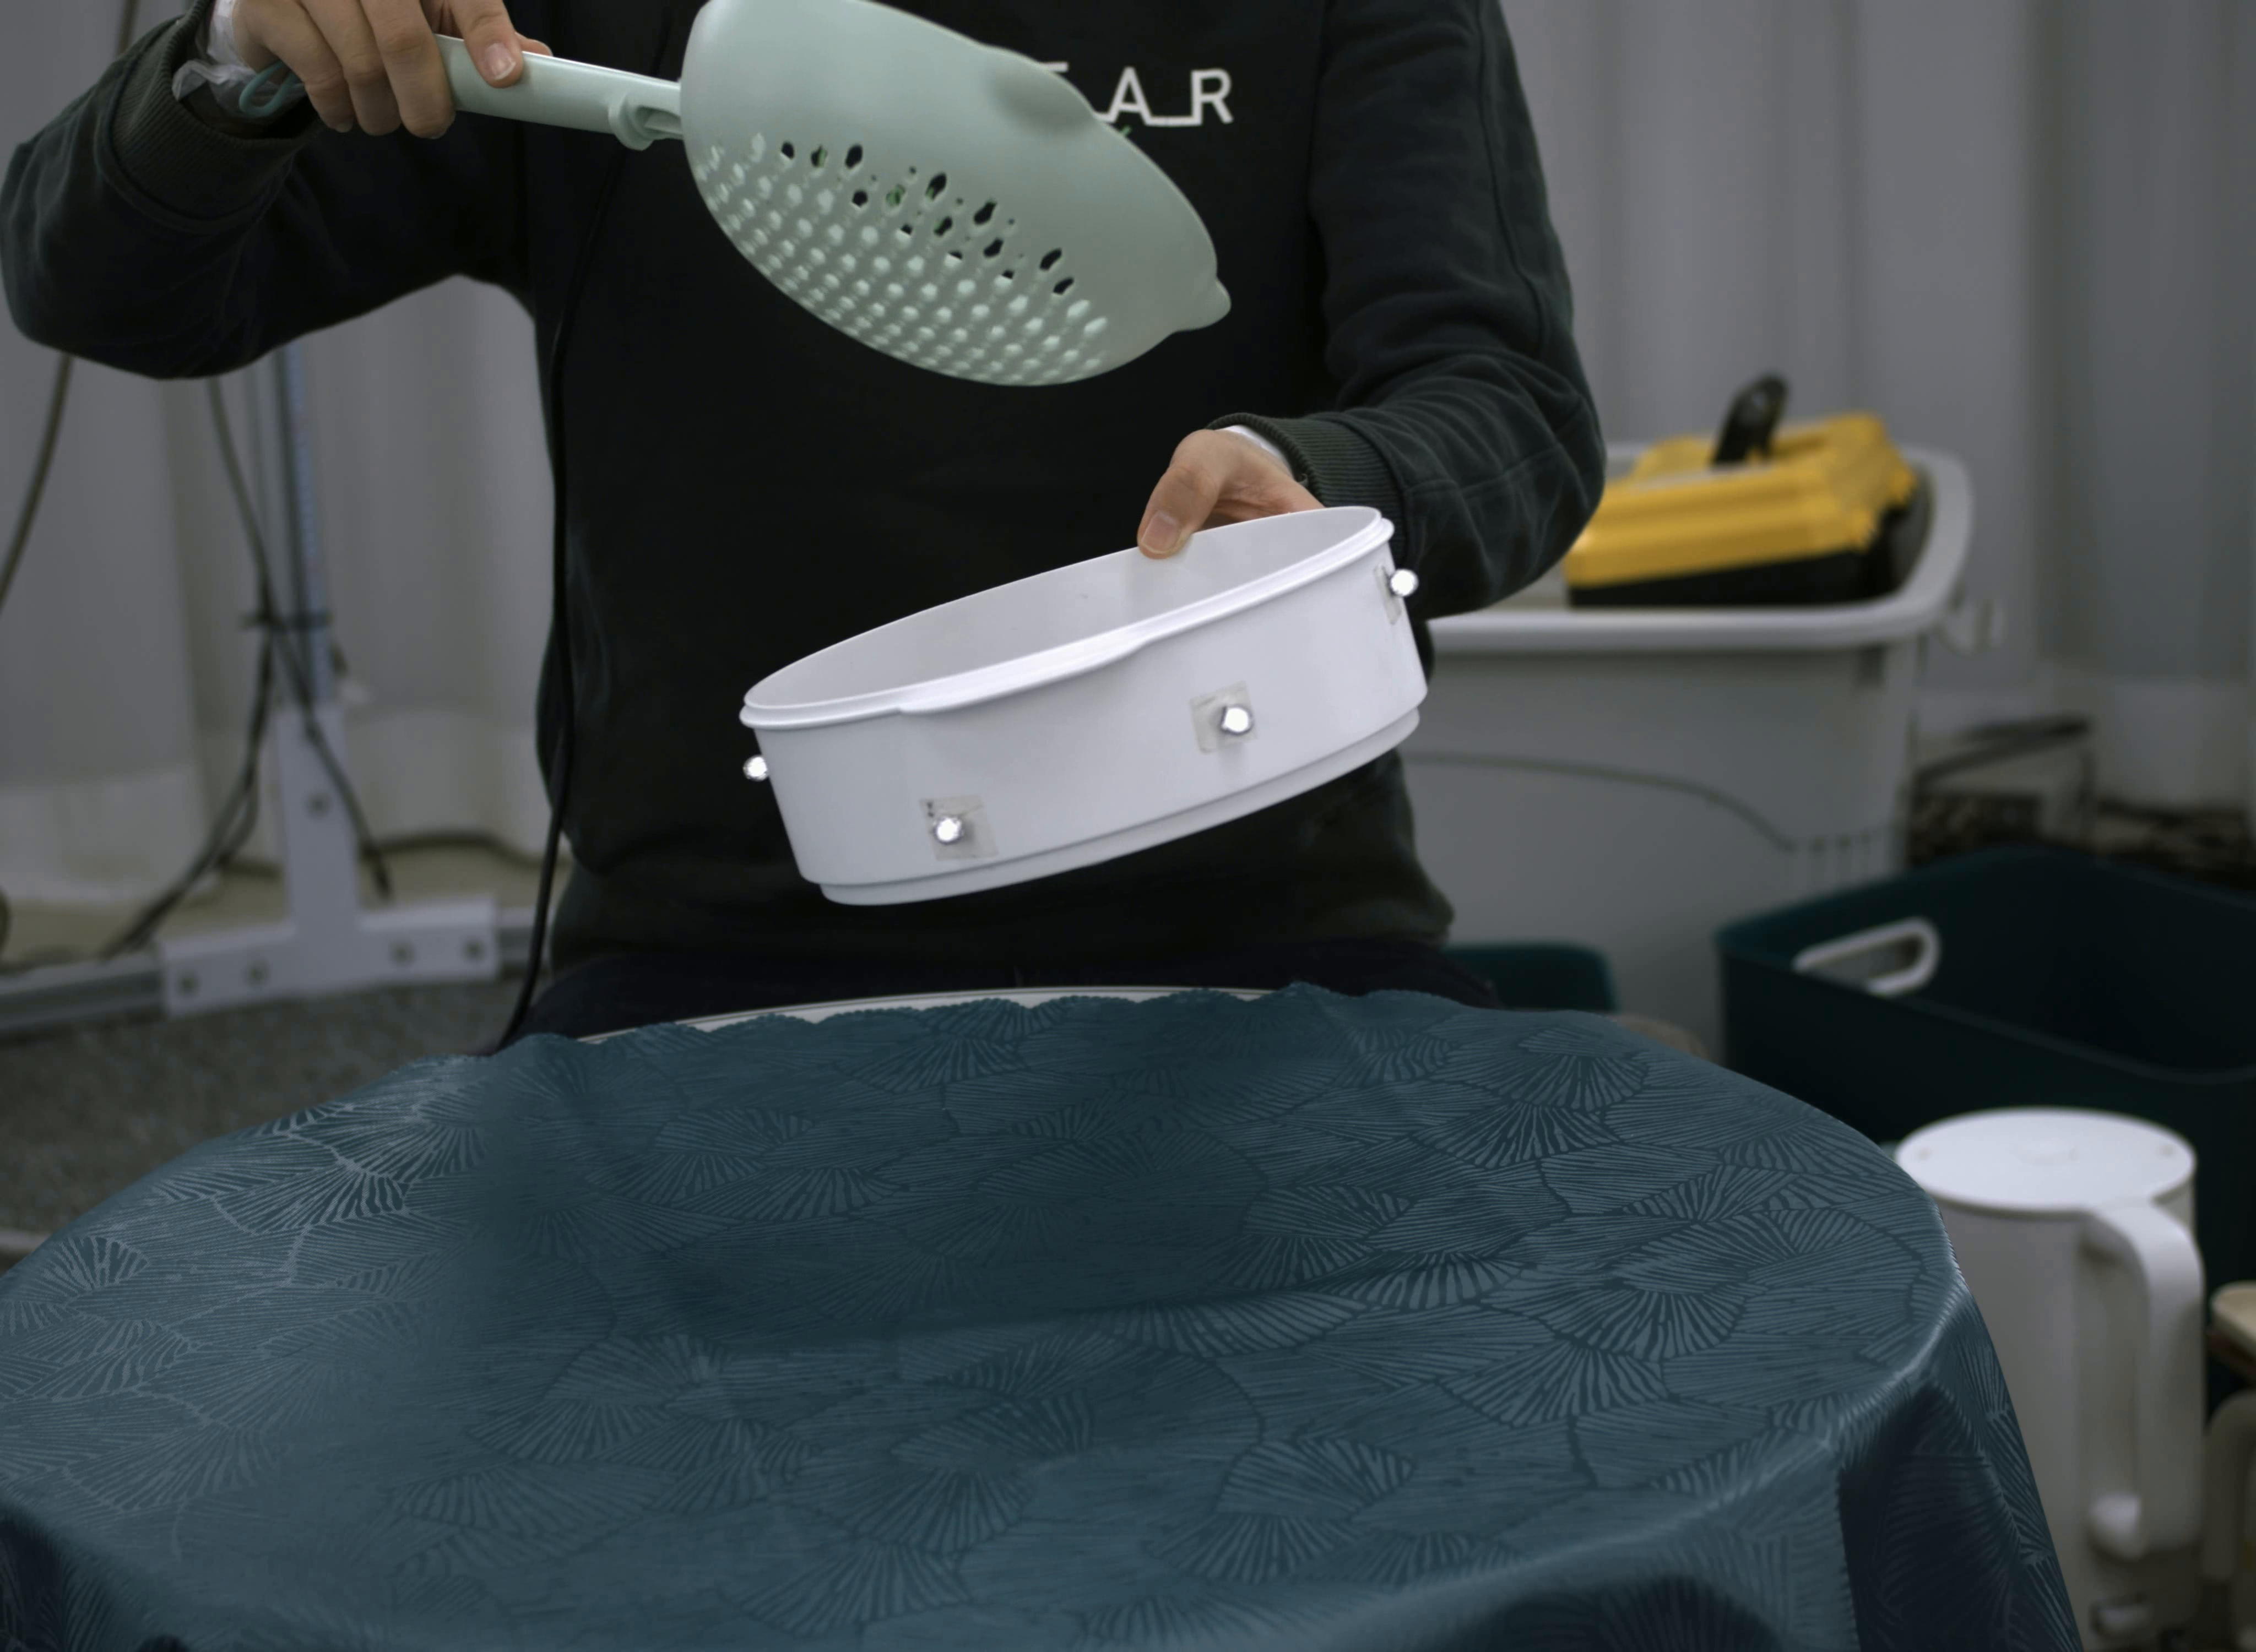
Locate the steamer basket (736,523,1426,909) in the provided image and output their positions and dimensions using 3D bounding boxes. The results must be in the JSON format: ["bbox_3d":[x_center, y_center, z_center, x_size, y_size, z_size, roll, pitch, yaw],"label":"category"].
[{"bbox_3d":[-0.011,-0.031,1.613,0.201,0.069,0.231,-14,9,8],"label":"steamer basket"}]

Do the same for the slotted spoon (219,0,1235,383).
[{"bbox_3d":[-0.135,-0.206,1.657,0.361,0.076,0.167,23,-16,35],"label":"slotted spoon"}]
